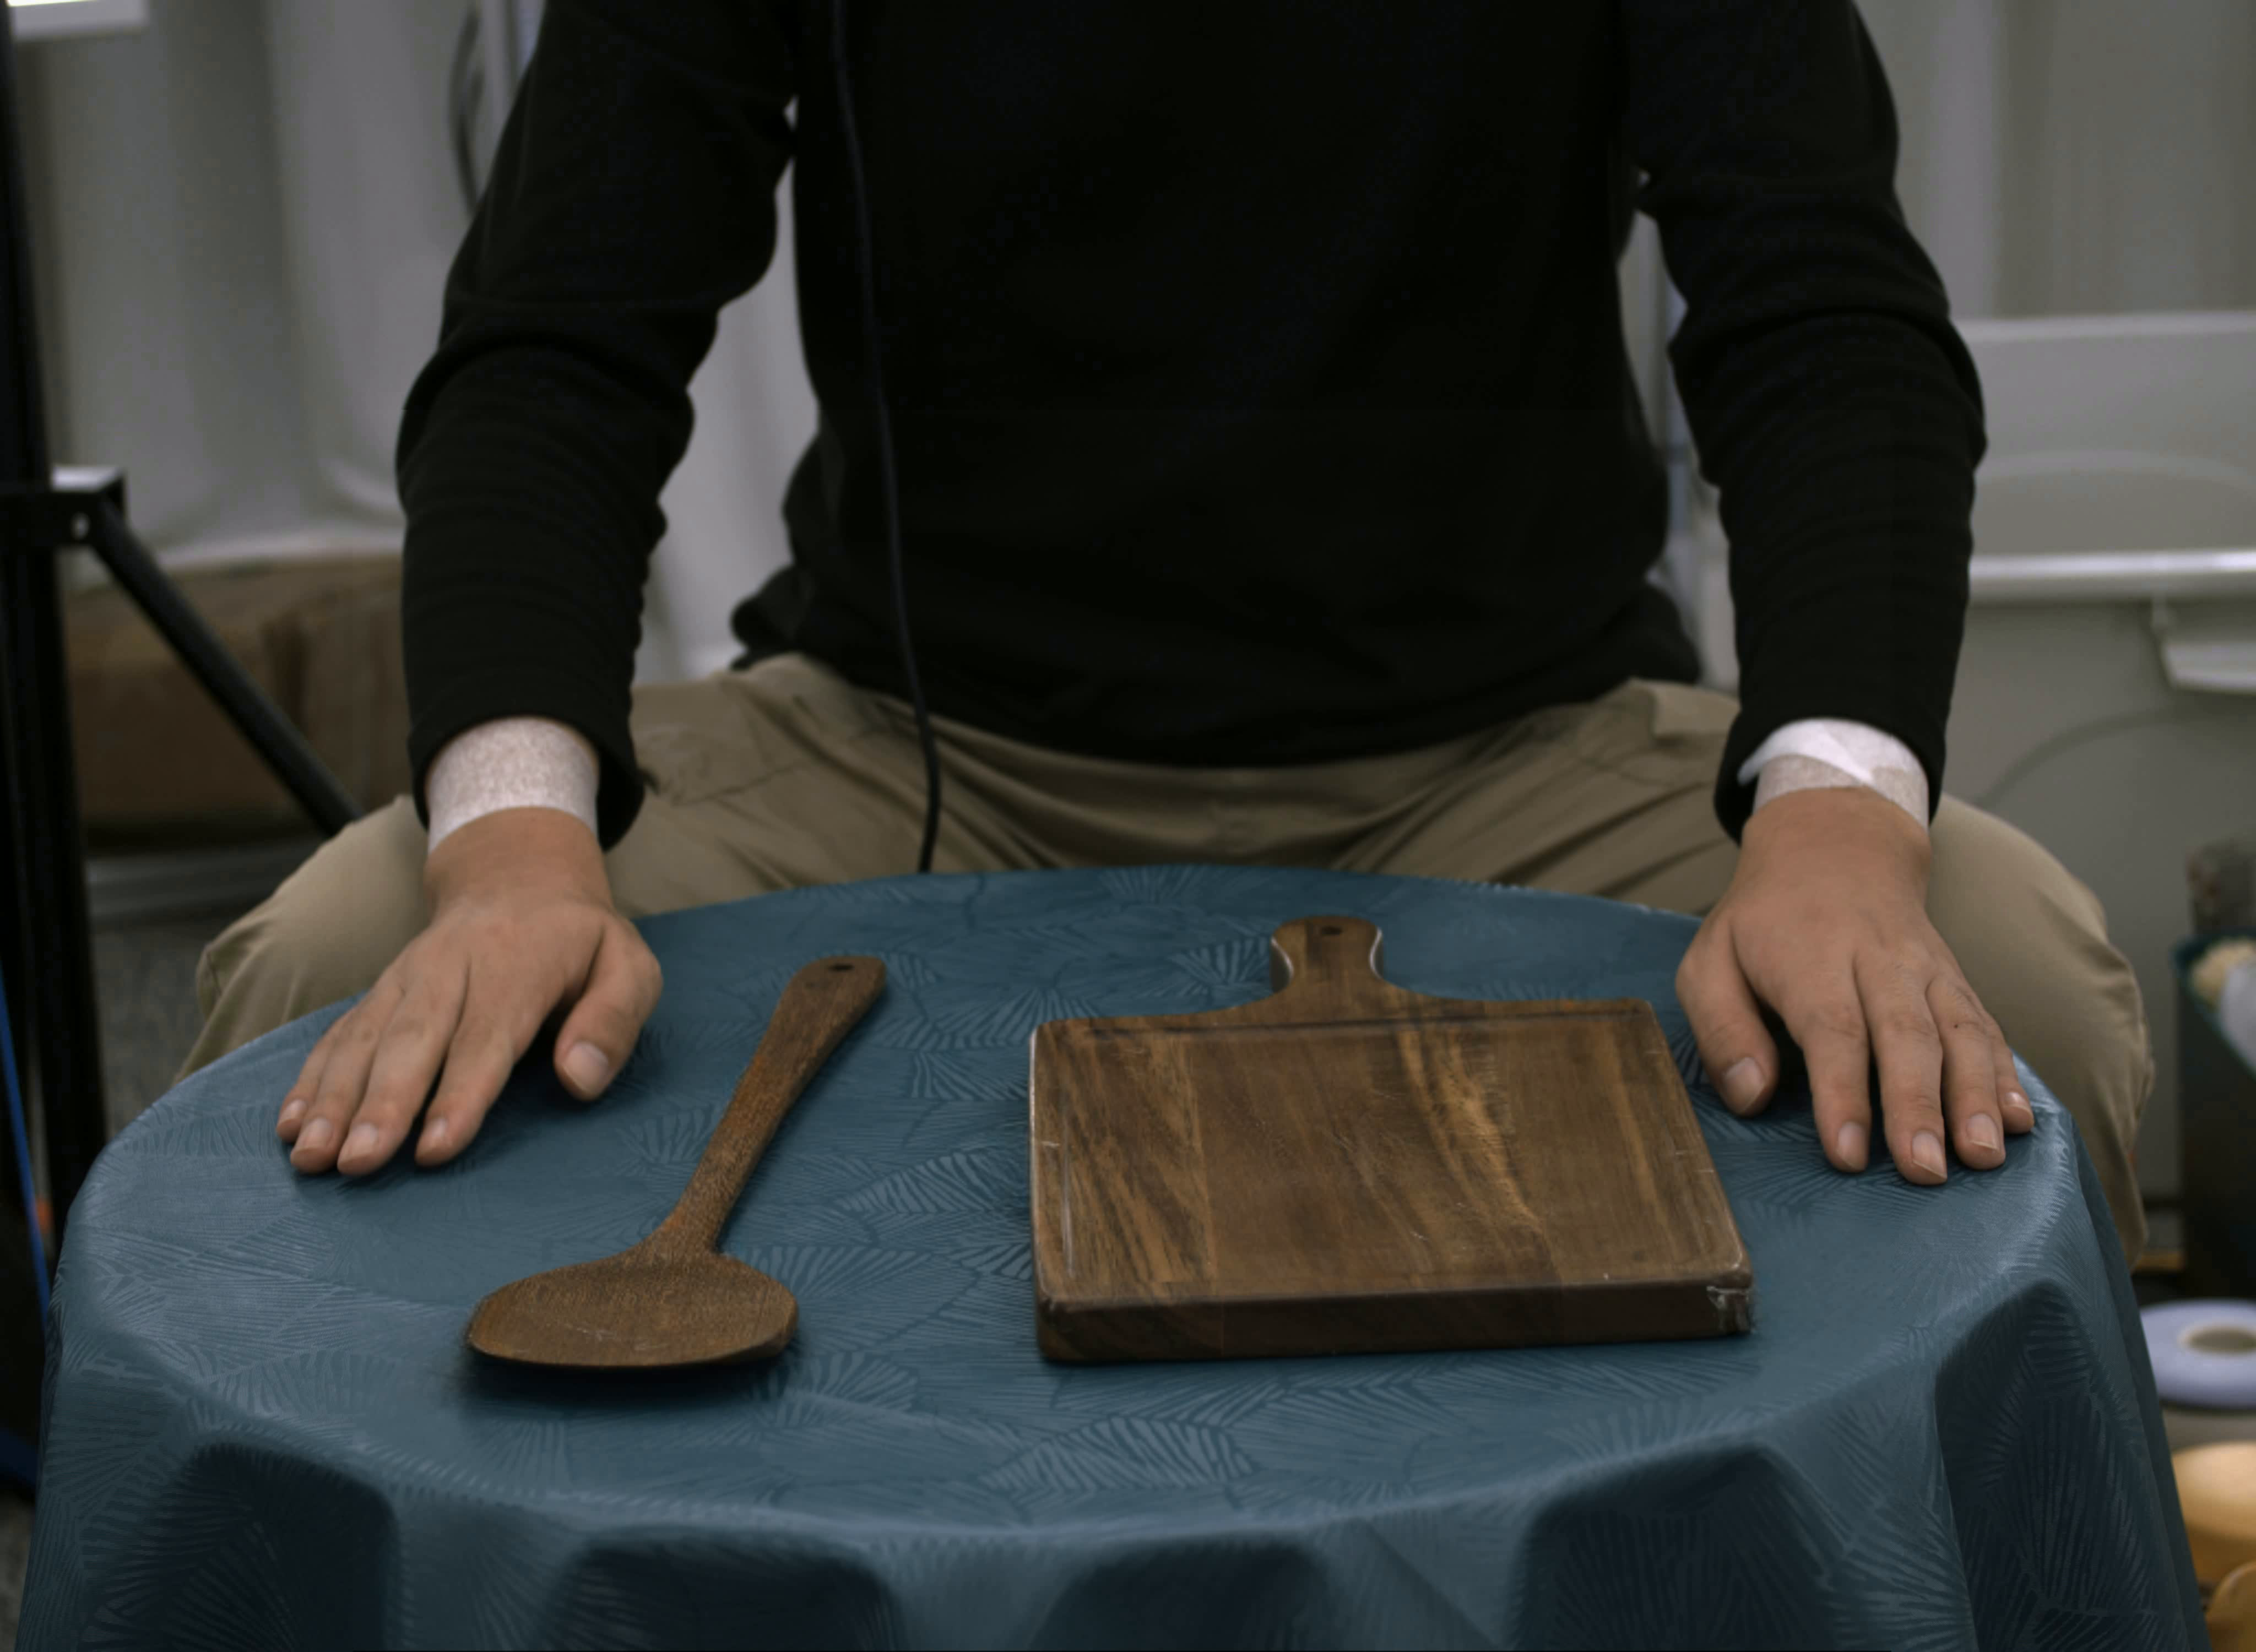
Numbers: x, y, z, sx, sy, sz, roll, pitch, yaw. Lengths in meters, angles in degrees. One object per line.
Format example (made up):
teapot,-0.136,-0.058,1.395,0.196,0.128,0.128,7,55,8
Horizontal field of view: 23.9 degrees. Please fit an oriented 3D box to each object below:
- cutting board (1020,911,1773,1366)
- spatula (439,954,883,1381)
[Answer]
cutting board,0.069,0.086,1.586,0.200,0.023,0.354,-2,16,-1
spatula,-0.118,0.095,1.594,0.096,0.016,0.385,0,16,8
